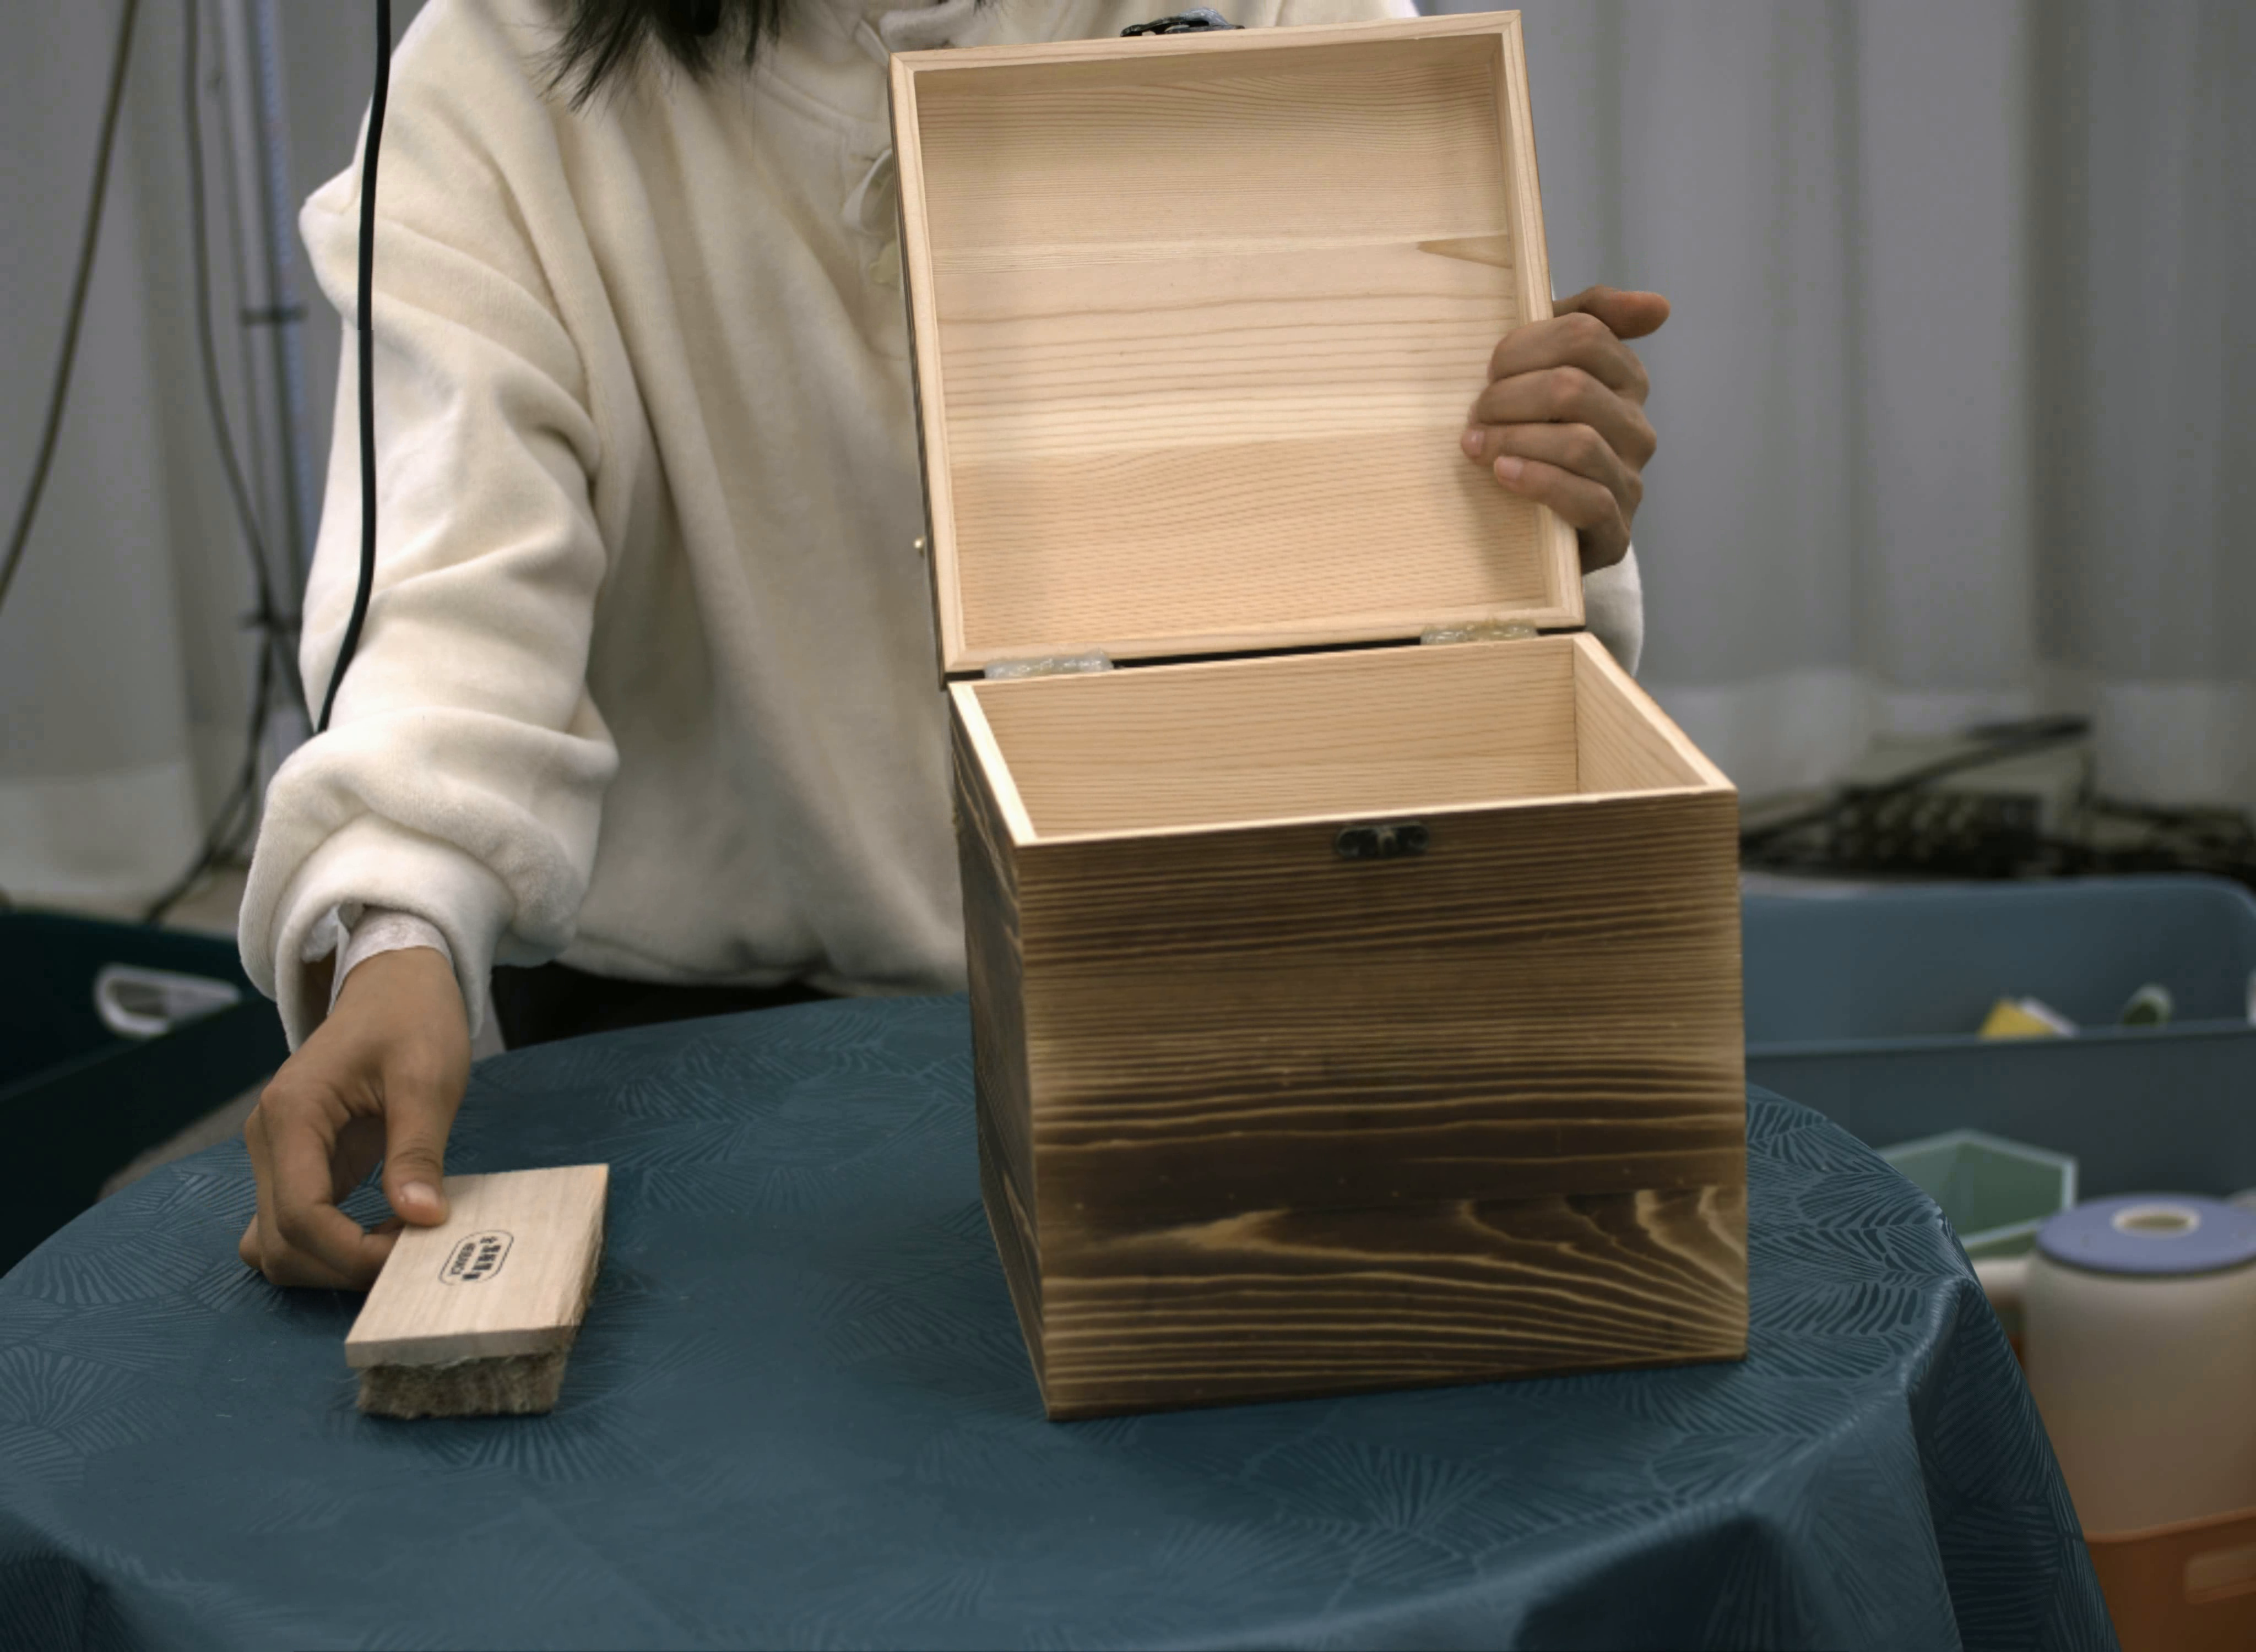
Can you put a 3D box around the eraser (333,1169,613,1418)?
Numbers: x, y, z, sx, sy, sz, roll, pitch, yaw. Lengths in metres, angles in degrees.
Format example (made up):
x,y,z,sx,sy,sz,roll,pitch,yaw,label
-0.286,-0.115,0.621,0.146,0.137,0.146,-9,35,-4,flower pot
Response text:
x,y,z,sx,sy,sz,roll,pitch,yaw,label
-0.190,0.137,1.608,0.057,0.029,0.140,-5,14,6,eraser

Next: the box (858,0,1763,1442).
x,y,z,sx,sy,sz,roll,pitch,yaw,label
0.047,-0.053,1.634,0.208,0.374,0.324,-5,14,-6,box
